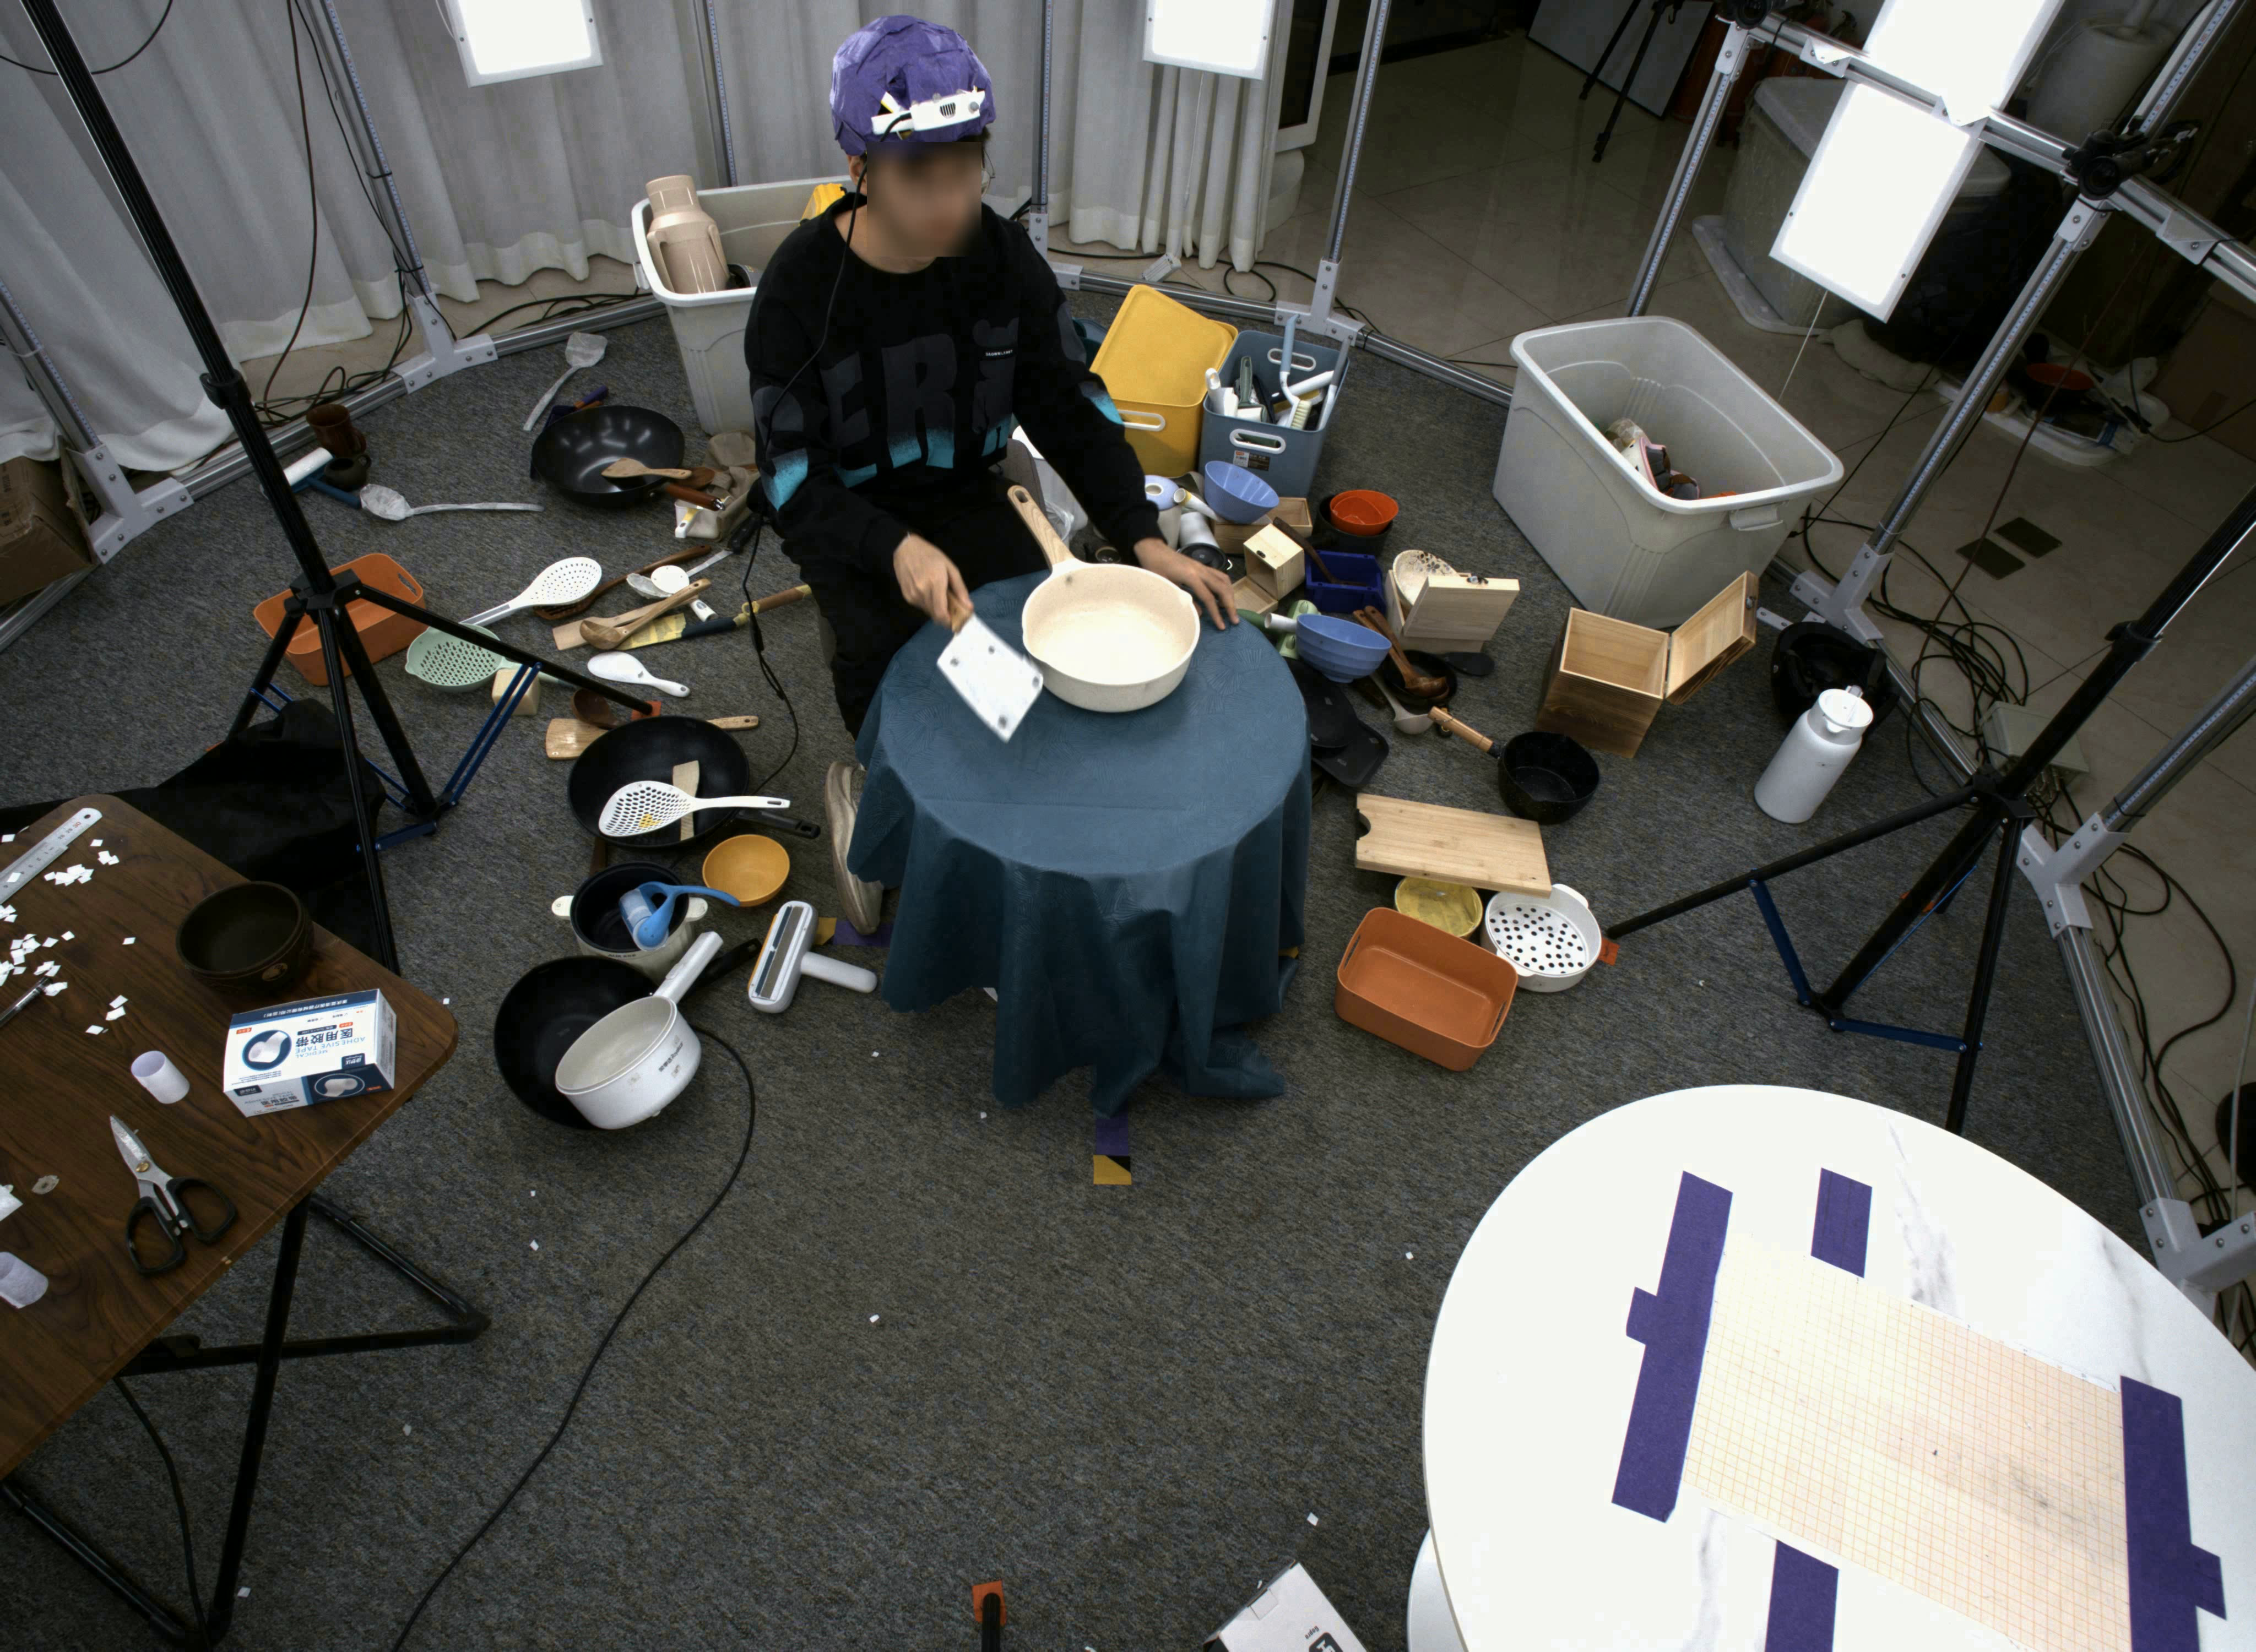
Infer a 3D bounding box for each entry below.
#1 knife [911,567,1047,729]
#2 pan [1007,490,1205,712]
[{"bbox_3d":[-0.208,-0.254,1.734,0.021,0.113,0.322,20,24,-52],"label":"knife"},{"bbox_3d":[-0.064,-0.333,1.890,0.264,0.099,0.444,-23,55,-19],"label":"pan"}]
